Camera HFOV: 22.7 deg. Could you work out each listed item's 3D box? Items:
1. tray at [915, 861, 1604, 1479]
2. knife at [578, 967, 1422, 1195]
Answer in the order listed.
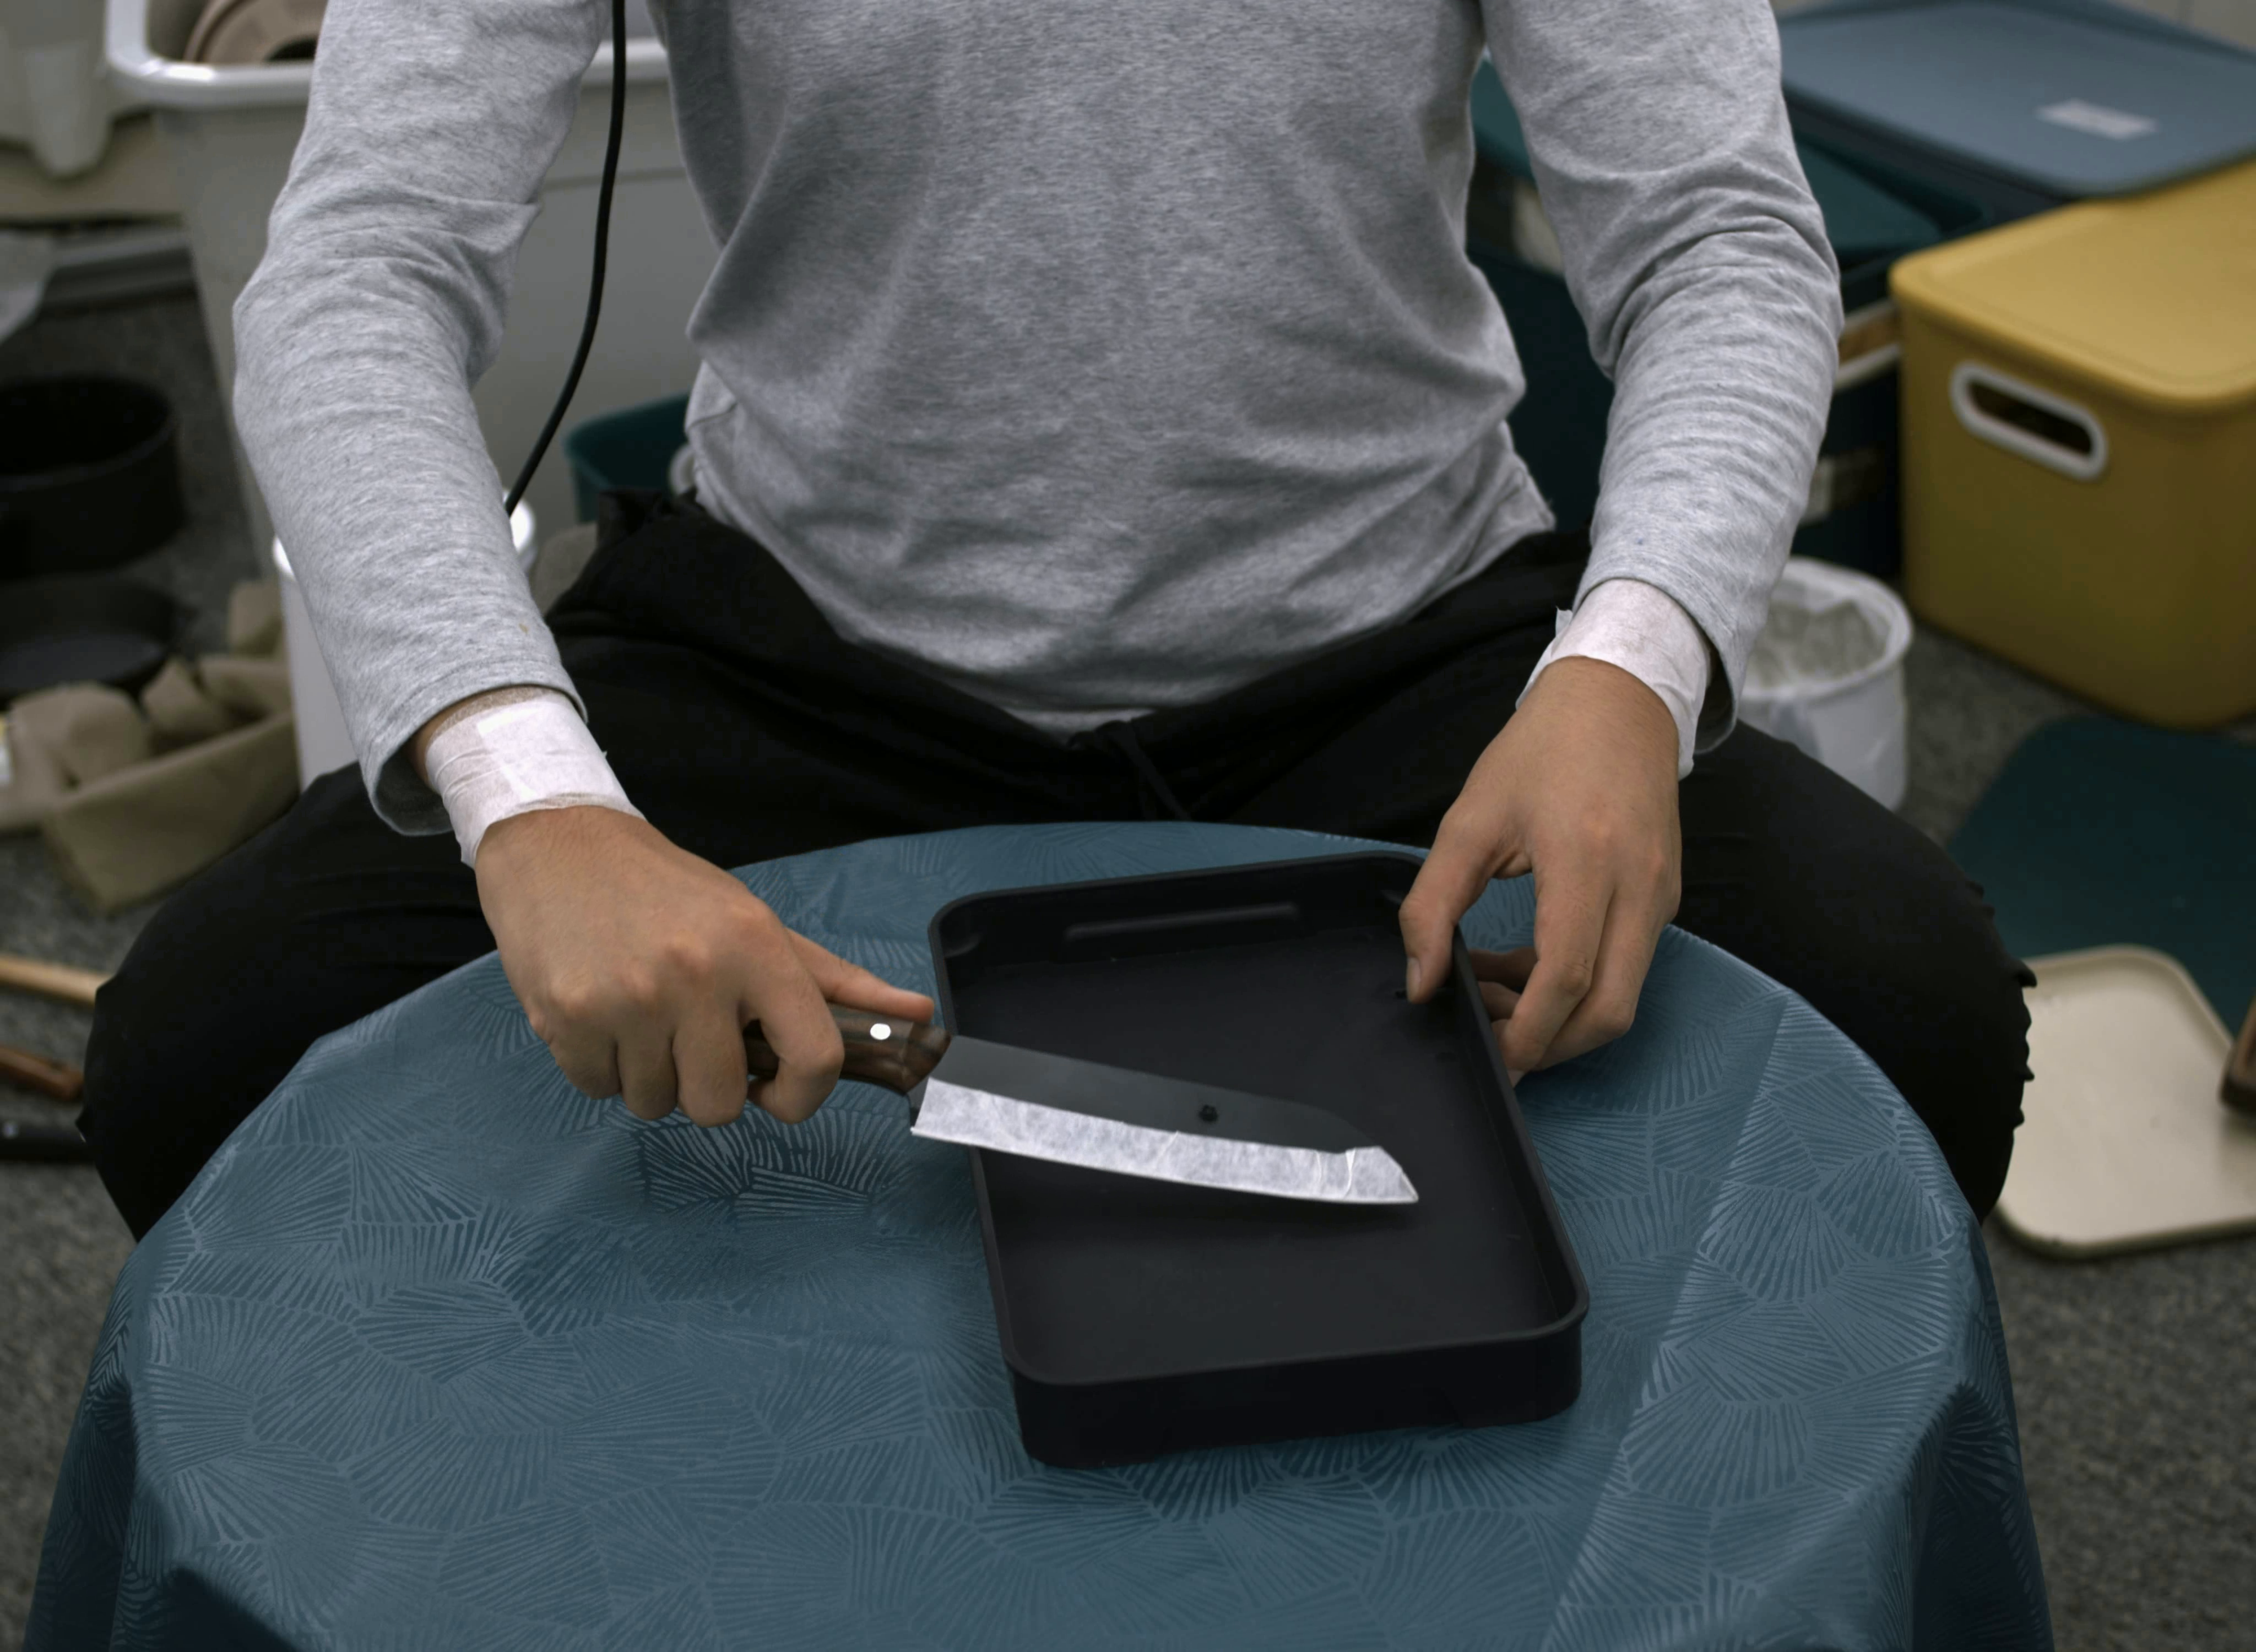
[{"bbox_3d":[0.037,0.107,1.849,0.184,0.036,0.322,-6,27,-6],"label":"tray"},{"bbox_3d":[-0.044,0.085,1.847,0.288,0.019,0.051,12,48,5],"label":"knife"}]
